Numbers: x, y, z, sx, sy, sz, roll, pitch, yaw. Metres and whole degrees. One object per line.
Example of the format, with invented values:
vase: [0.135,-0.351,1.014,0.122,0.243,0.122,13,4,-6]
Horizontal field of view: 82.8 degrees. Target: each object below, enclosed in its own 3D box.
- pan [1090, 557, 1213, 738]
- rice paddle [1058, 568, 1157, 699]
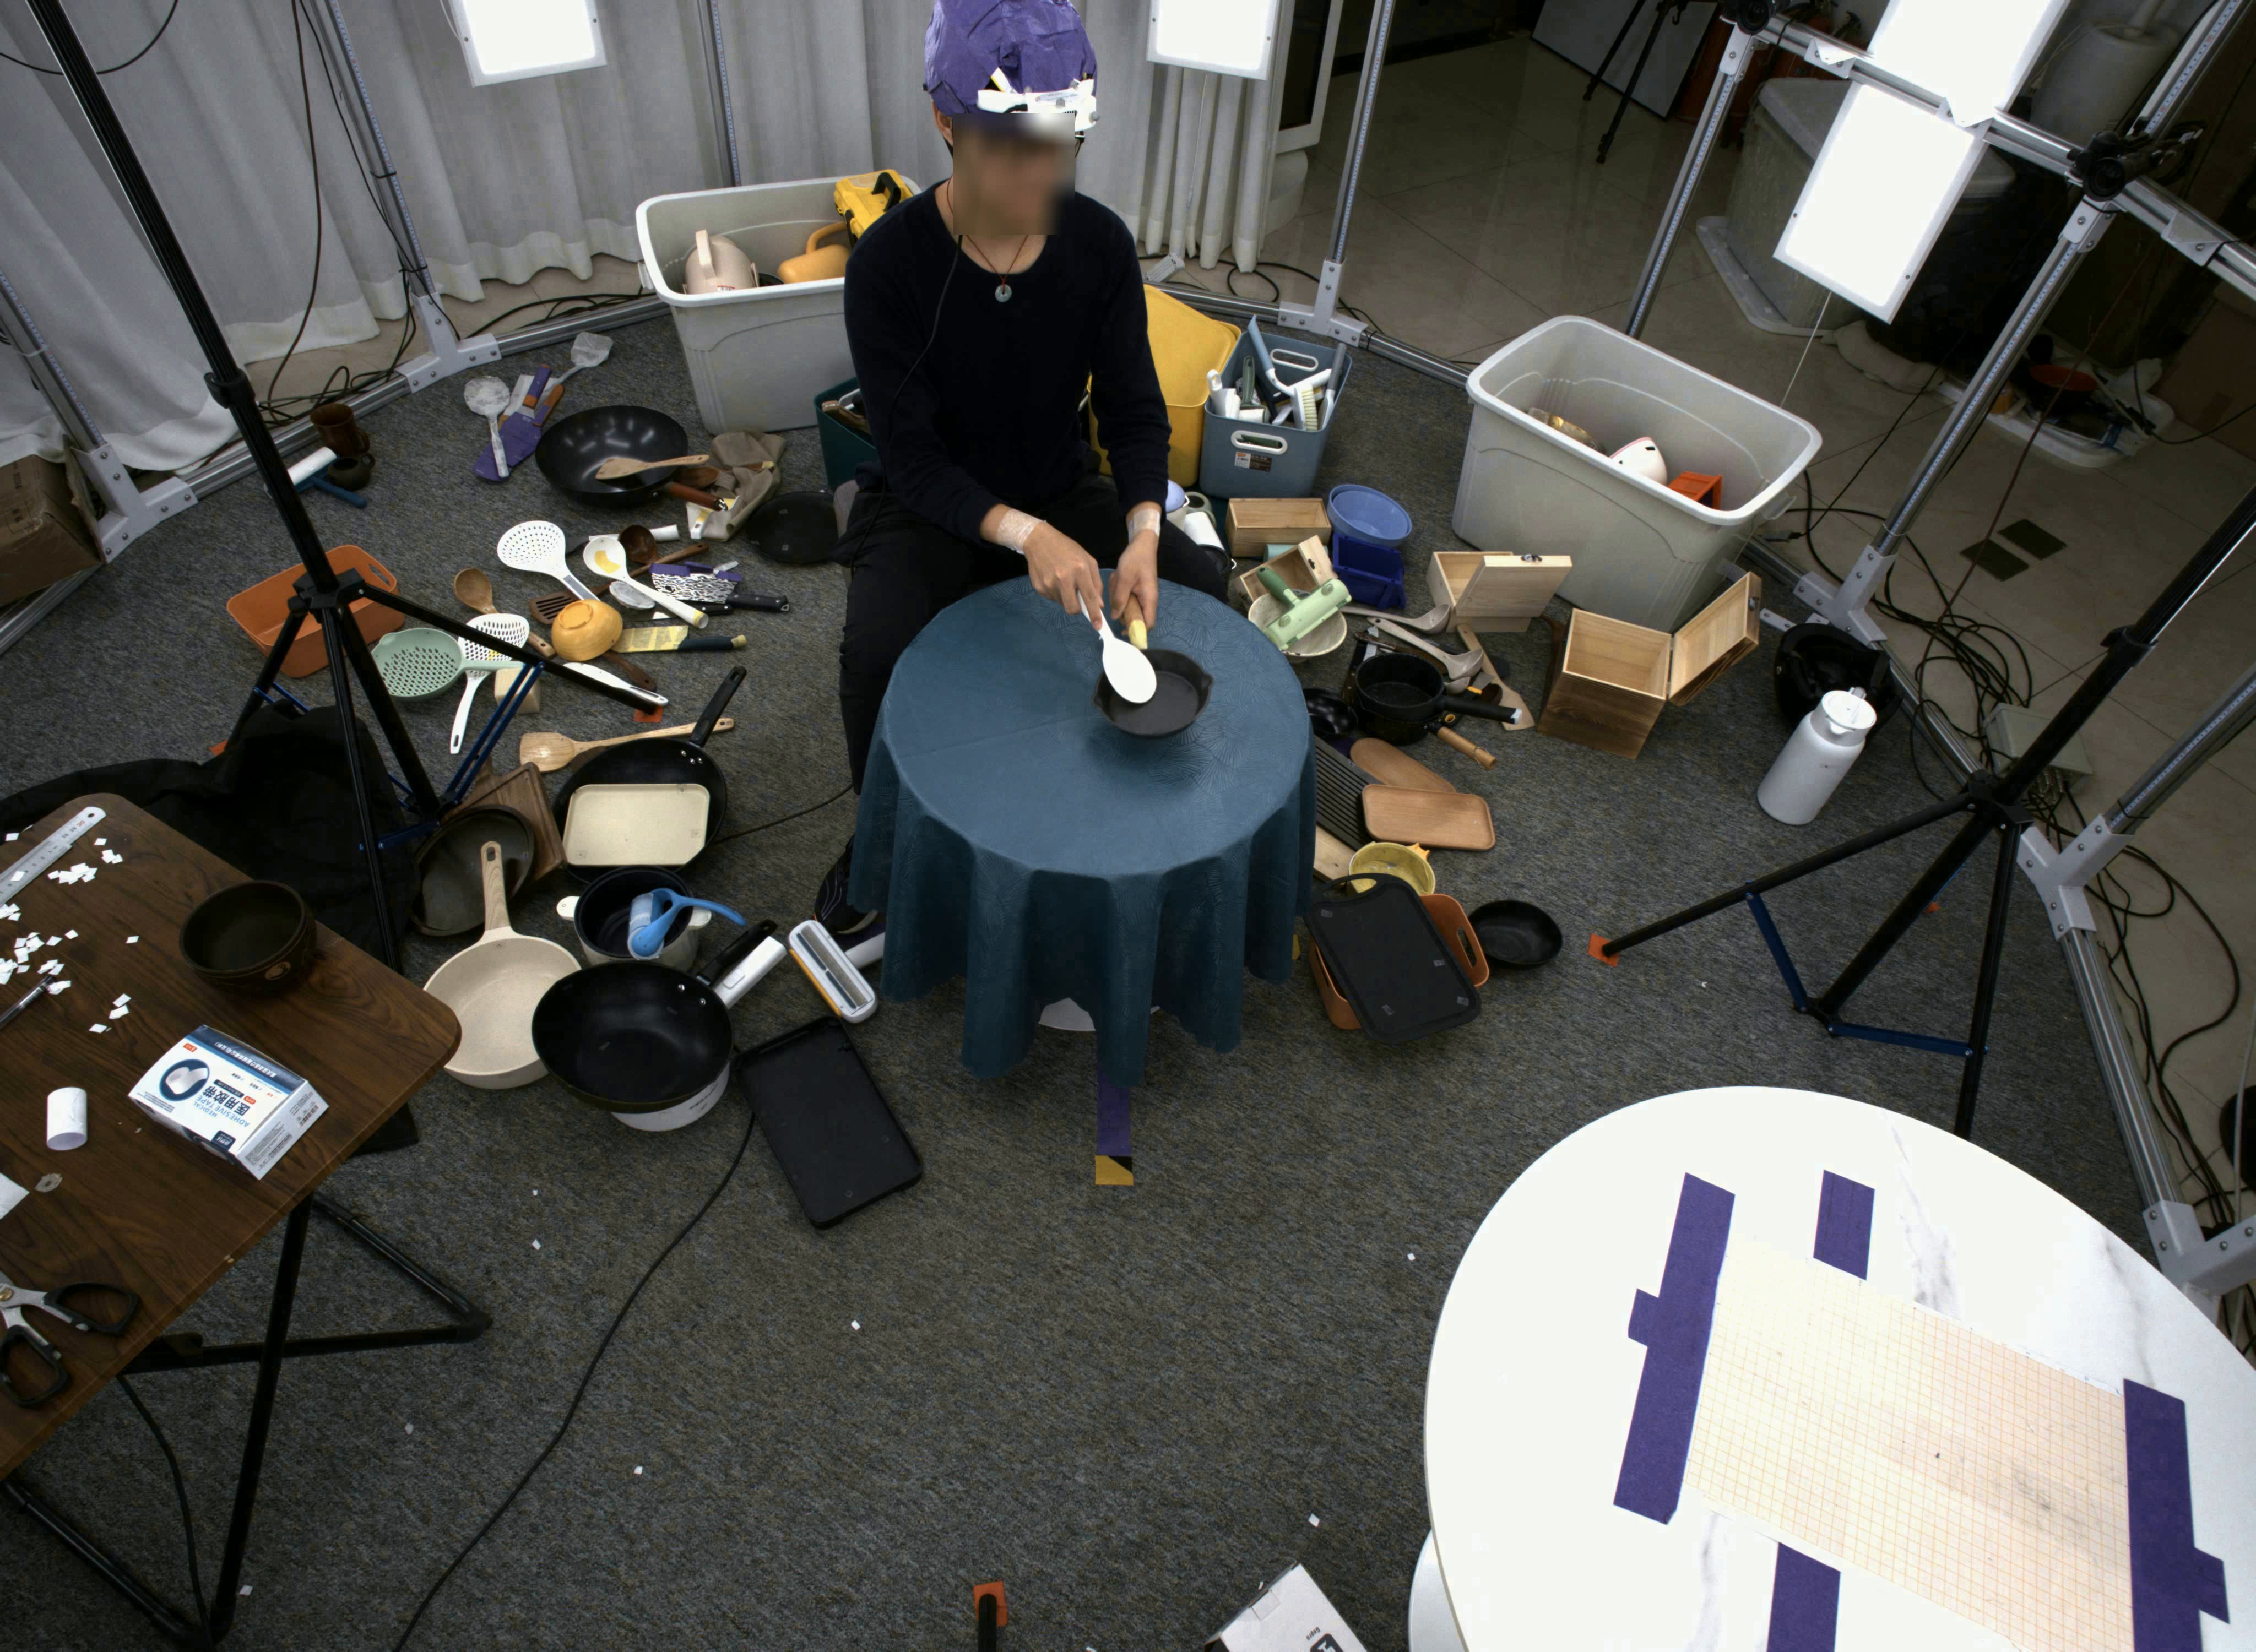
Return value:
pan: [0.020,-0.251,1.797,0.169,0.048,0.332,-8,53,-3]
rice paddle: [-0.027,-0.264,1.771,0.069,0.029,0.206,-30,82,-25]
